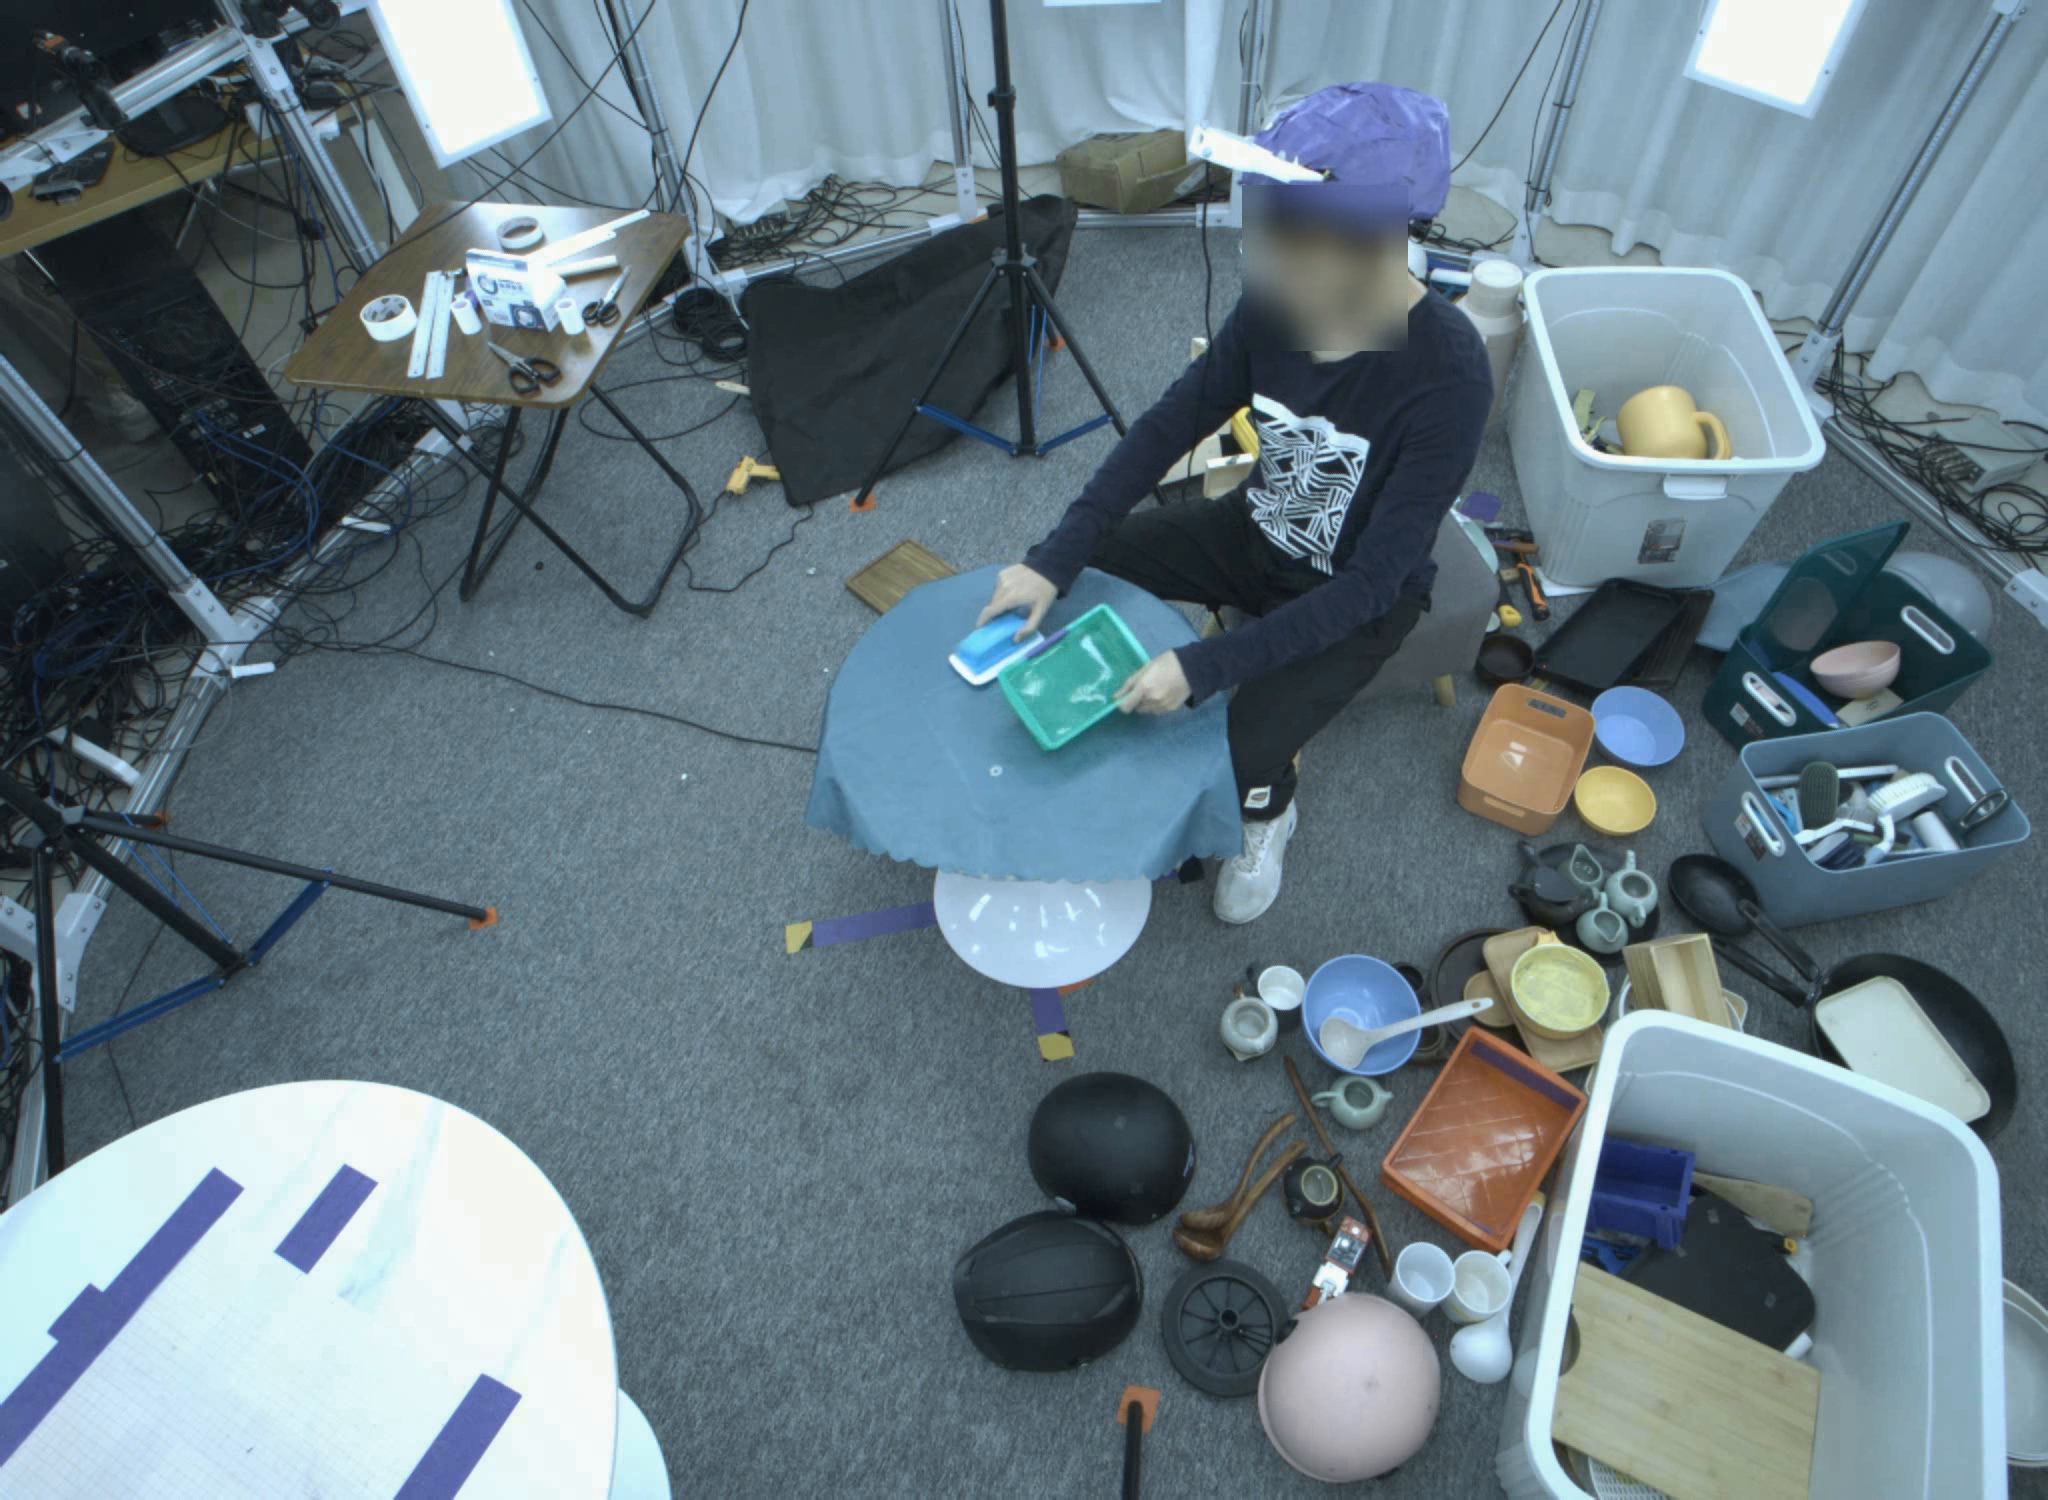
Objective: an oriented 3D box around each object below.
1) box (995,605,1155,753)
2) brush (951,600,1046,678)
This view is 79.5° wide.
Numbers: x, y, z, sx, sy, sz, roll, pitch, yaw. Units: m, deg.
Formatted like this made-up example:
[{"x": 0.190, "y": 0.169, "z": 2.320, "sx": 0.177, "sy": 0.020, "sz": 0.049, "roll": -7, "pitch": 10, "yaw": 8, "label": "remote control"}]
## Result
[{"x": 0.069, "y": -0.098, "z": 1.772, "sx": 0.212, "sy": 0.065, "sz": 0.138, "roll": -36, "pitch": 86, "yaw": -16, "label": "box"}, {"x": -0.041, "y": -0.176, "z": 1.860, "sx": 0.144, "sy": 0.057, "sz": 0.082, "roll": -38, "pitch": 56, "yaw": -12, "label": "brush"}]
